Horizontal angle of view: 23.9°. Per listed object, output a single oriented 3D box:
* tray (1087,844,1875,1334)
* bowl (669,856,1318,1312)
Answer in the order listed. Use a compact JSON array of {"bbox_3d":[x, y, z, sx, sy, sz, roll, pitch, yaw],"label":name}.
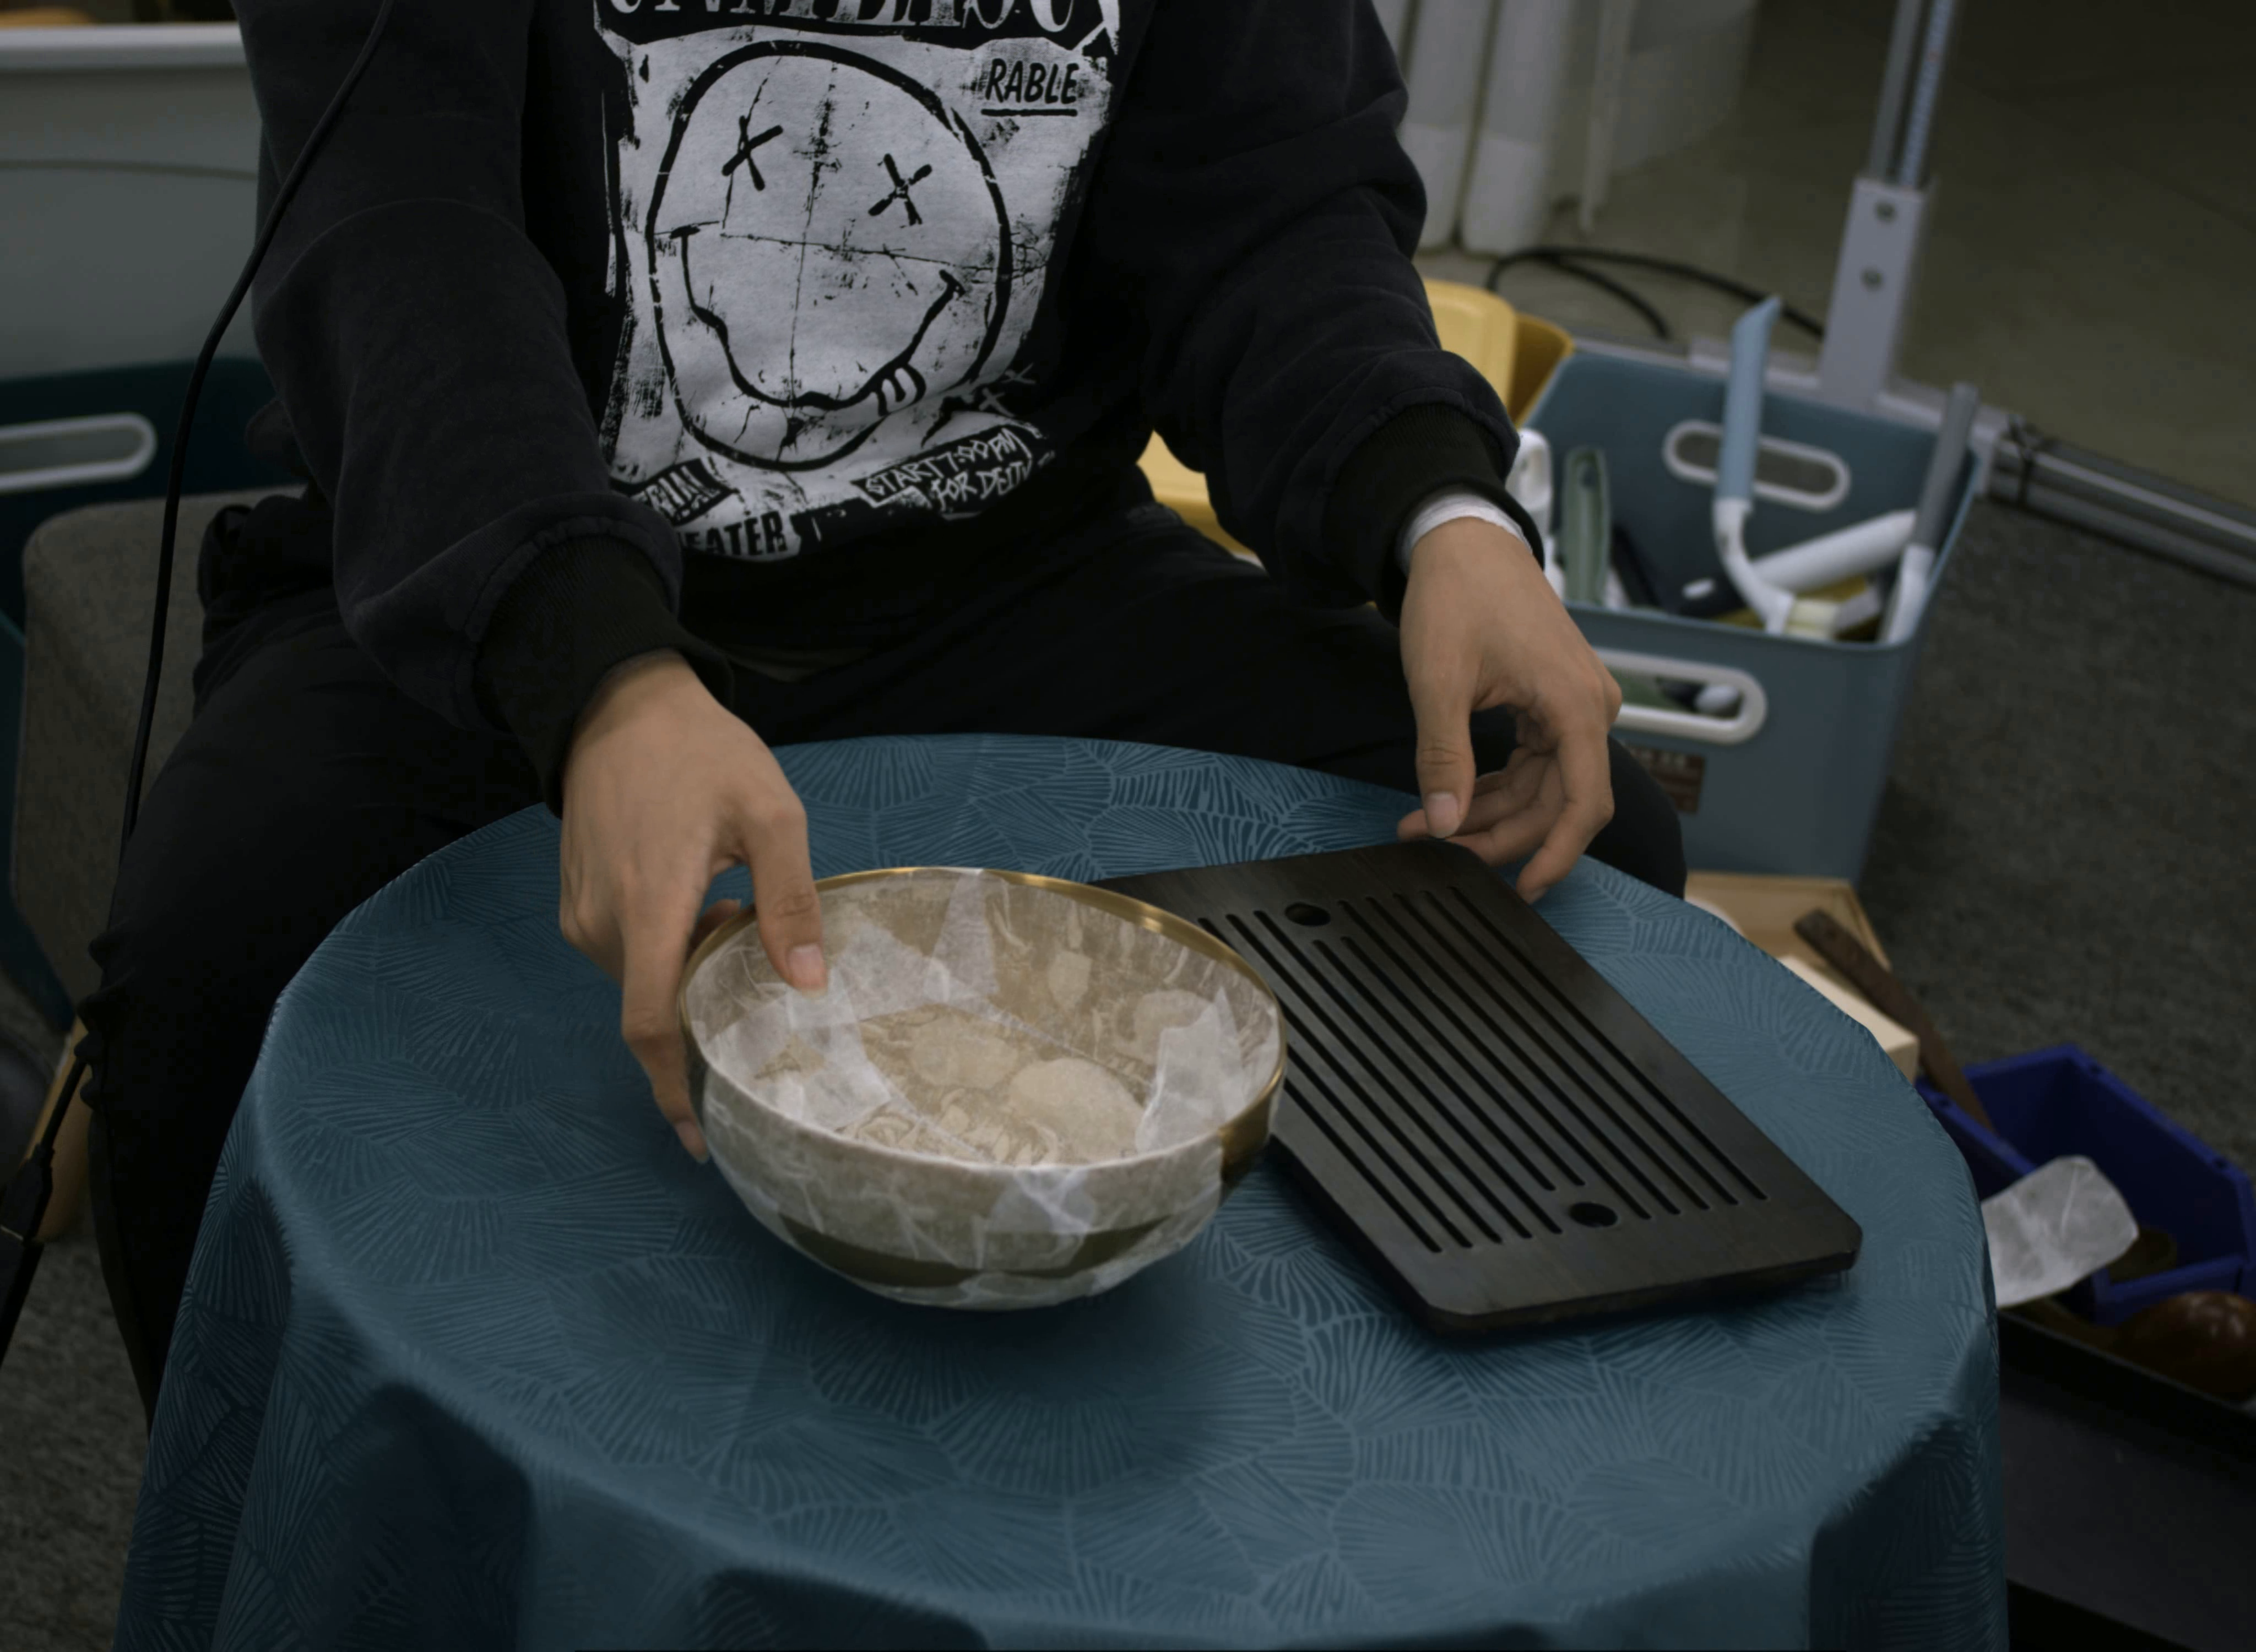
[{"bbox_3d":[0.116,0.089,1.875,0.169,0.018,0.309,-7,29,-24],"label":"tray"},{"bbox_3d":[-0.048,0.096,1.741,0.214,0.094,0.216,4,26,-2],"label":"bowl"}]
